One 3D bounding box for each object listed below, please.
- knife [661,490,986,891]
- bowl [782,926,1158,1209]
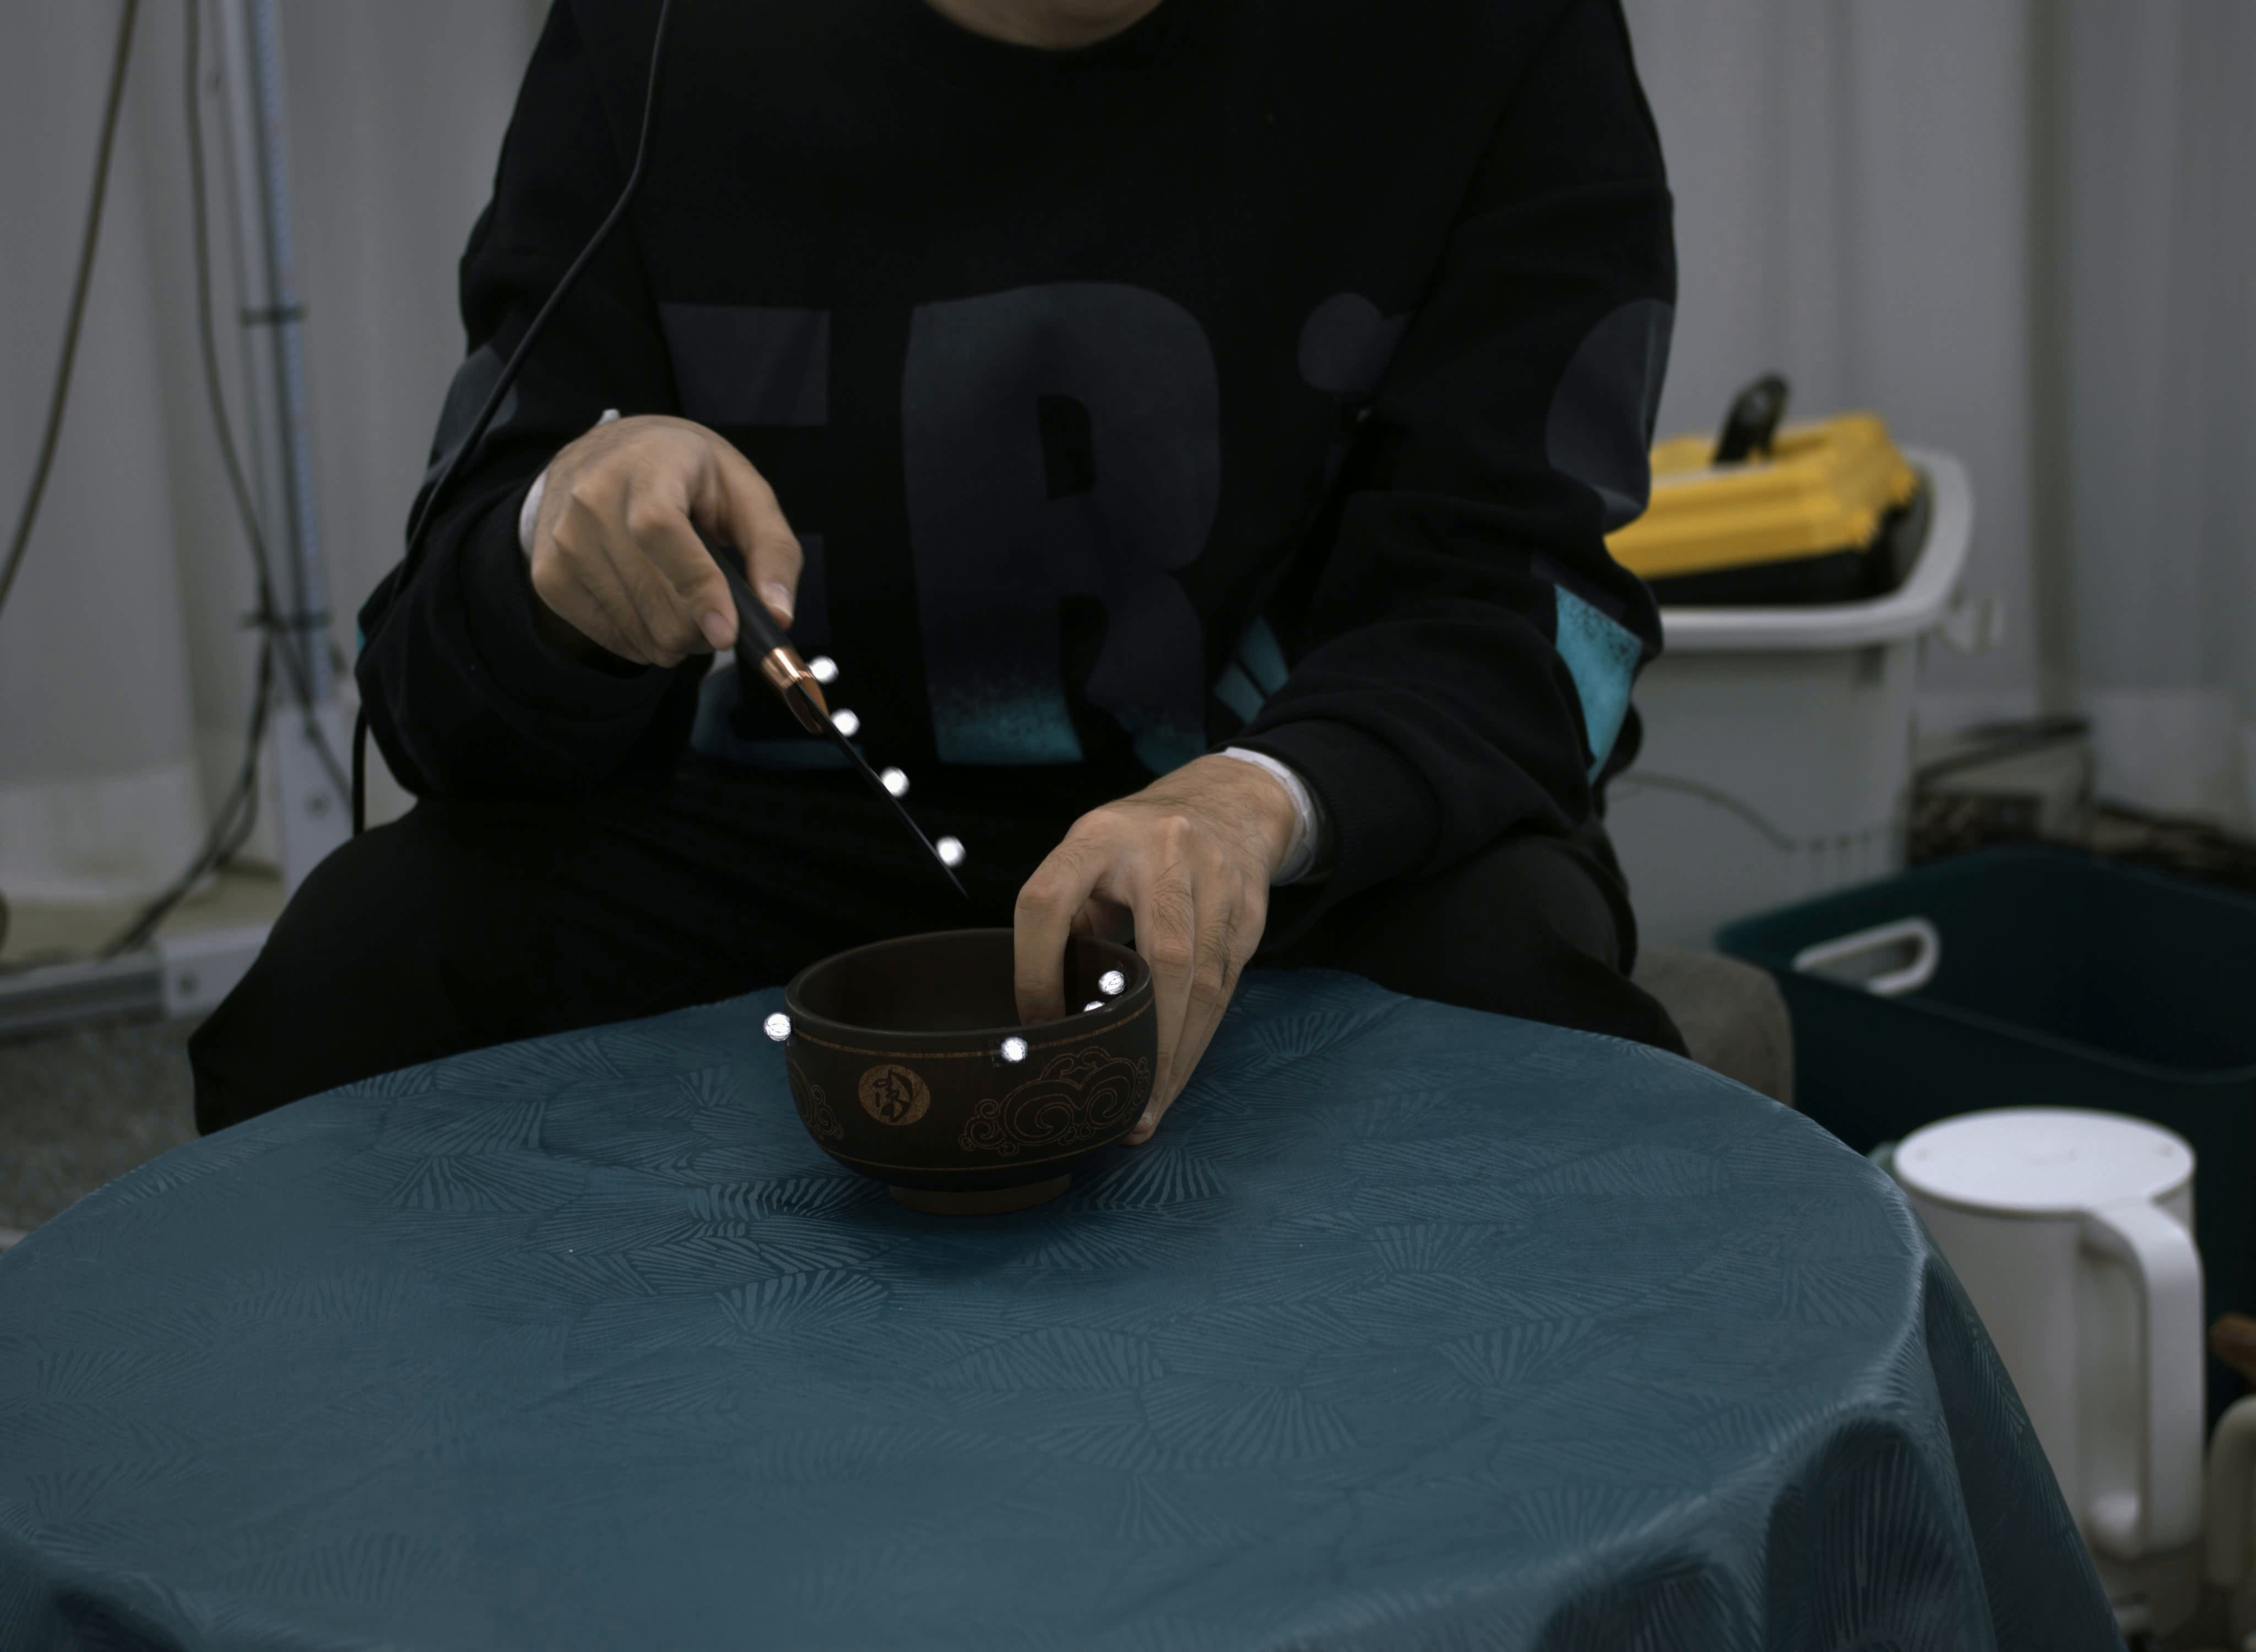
[{"bbox_3d":[-0.100,-0.046,1.758,0.026,0.017,0.228,31,14,-43],"label":"knife"},{"bbox_3d":[-0.049,0.079,1.714,0.117,0.069,0.119,-1,13,0],"label":"bowl"}]
